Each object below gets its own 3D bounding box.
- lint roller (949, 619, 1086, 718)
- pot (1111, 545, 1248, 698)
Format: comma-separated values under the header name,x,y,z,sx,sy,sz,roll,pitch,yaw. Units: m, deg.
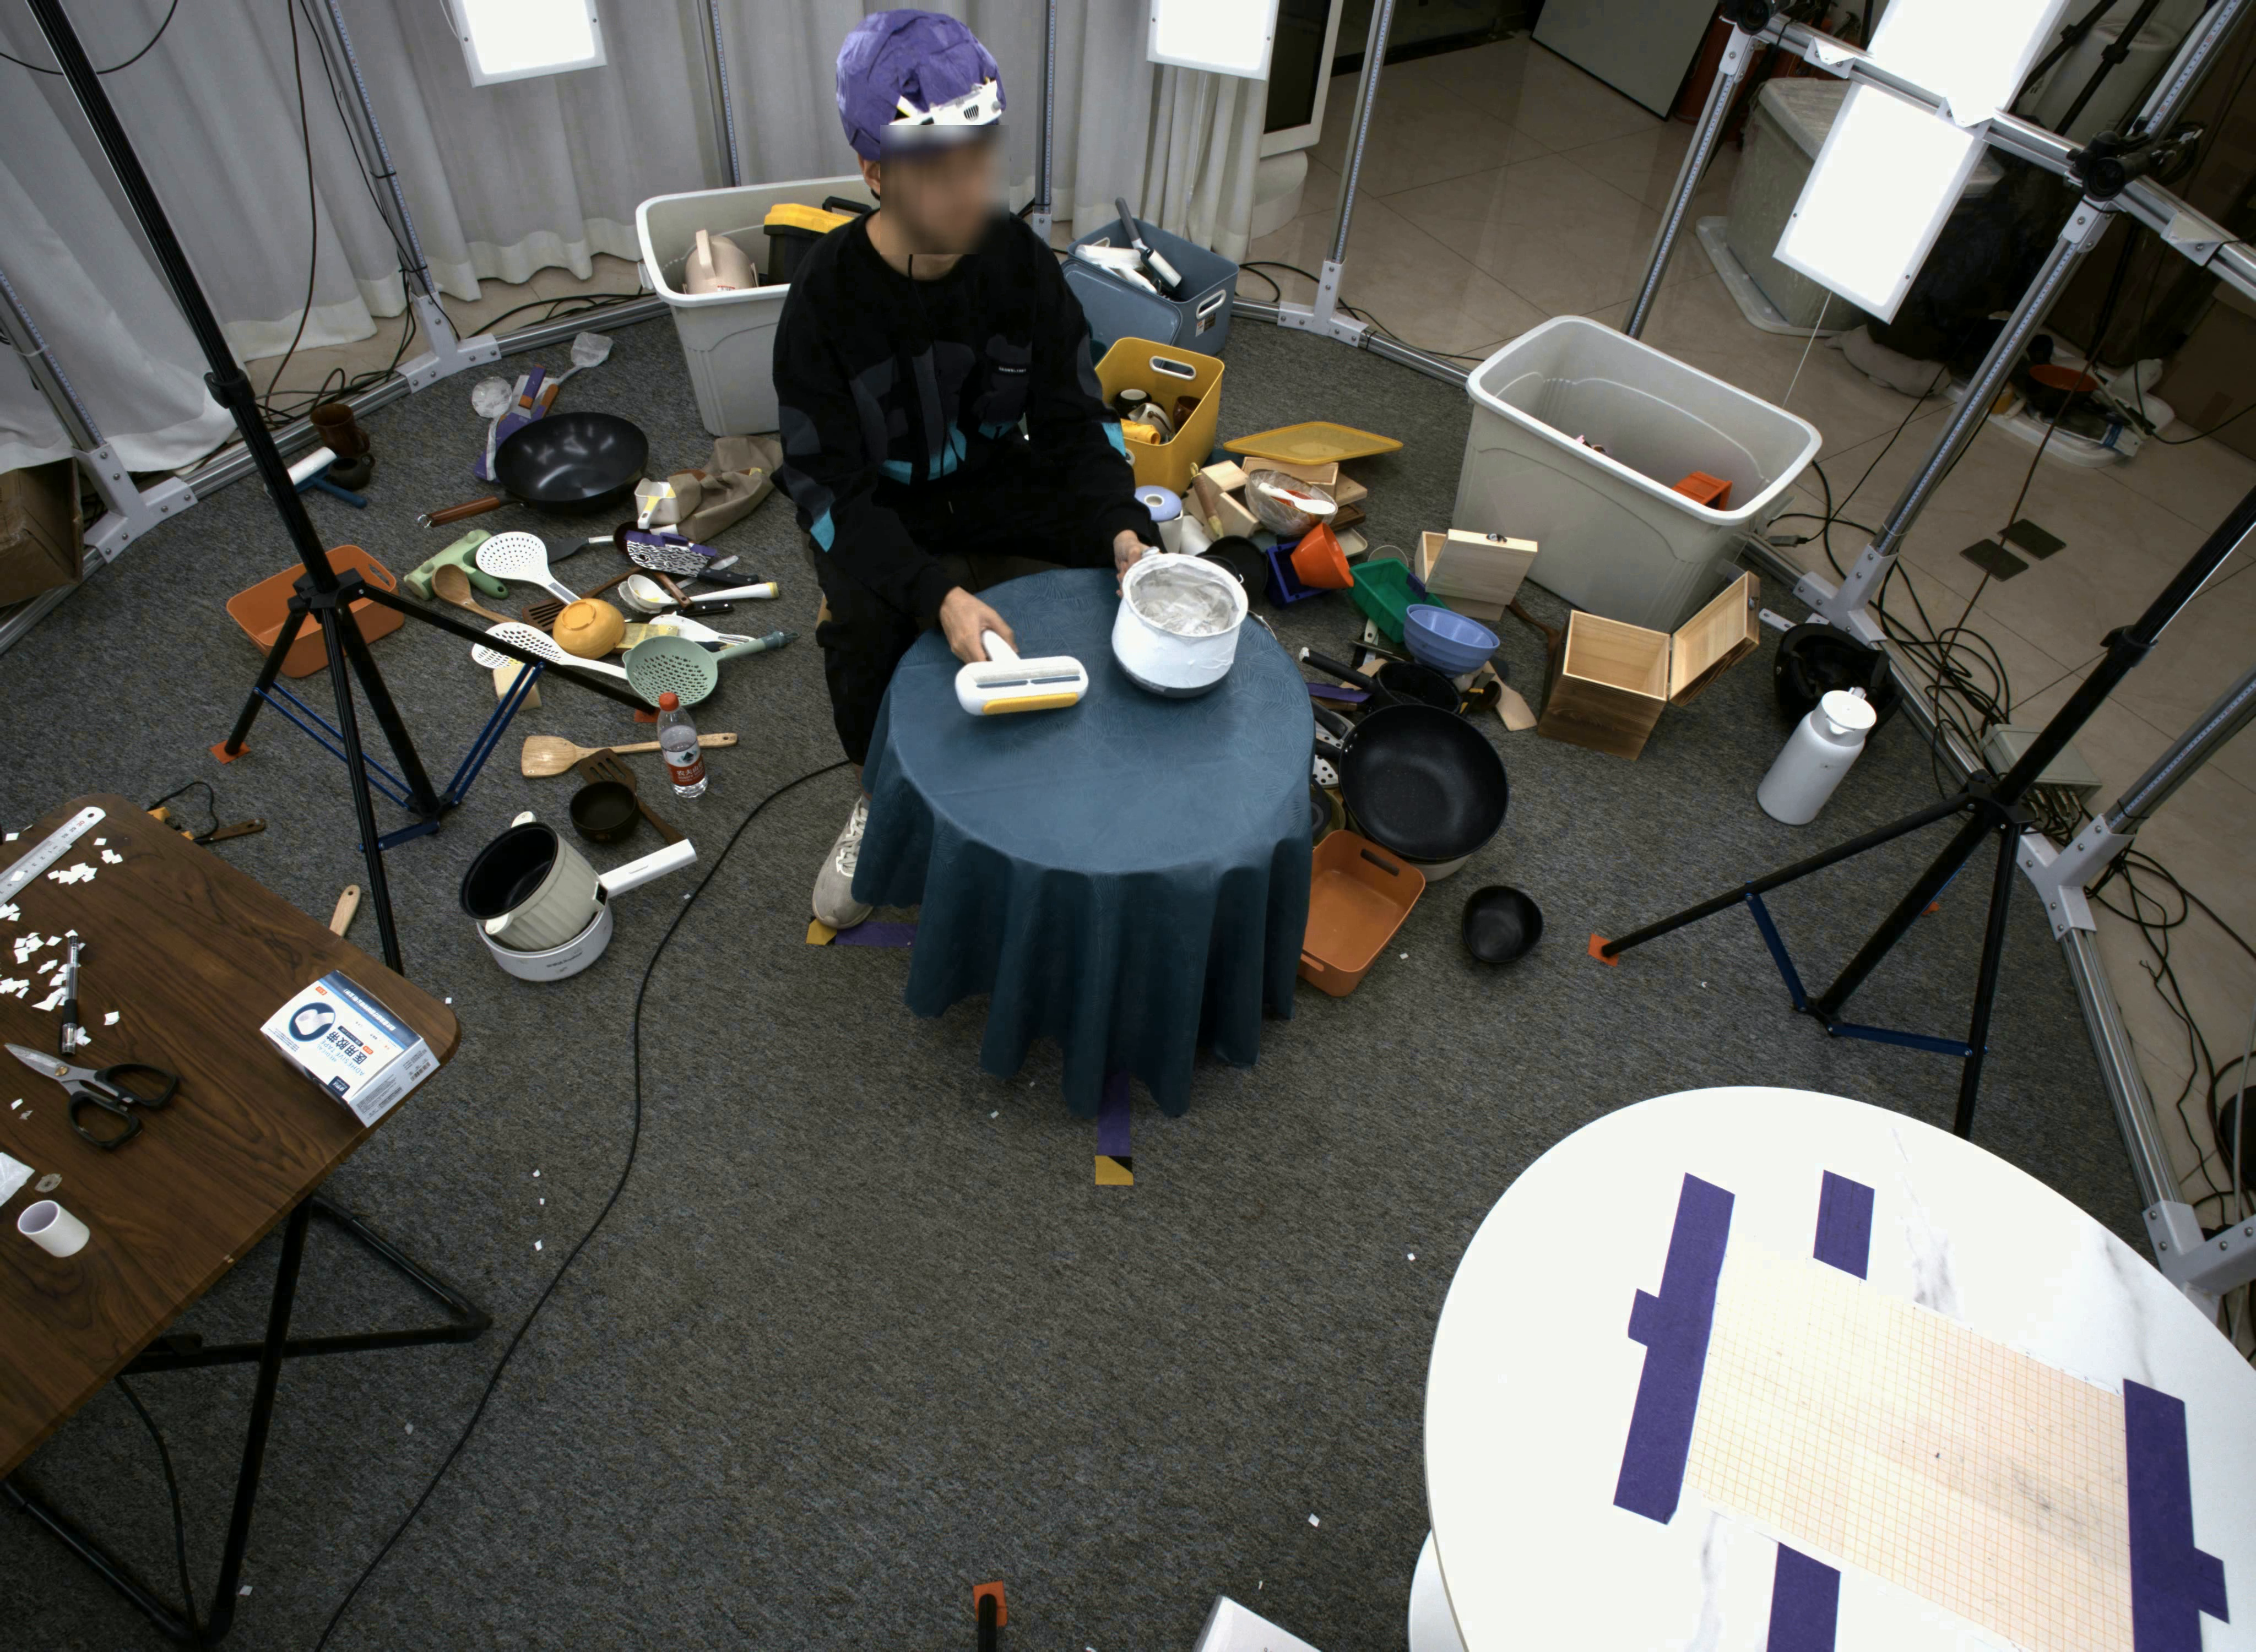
name,x,y,z,sx,sy,sz,roll,pitch,yaw
lint roller,-0.173,-0.233,1.802,0.192,0.072,0.197,-9,54,-23
pot,0.057,-0.301,1.836,0.179,0.133,0.239,-15,53,-24
